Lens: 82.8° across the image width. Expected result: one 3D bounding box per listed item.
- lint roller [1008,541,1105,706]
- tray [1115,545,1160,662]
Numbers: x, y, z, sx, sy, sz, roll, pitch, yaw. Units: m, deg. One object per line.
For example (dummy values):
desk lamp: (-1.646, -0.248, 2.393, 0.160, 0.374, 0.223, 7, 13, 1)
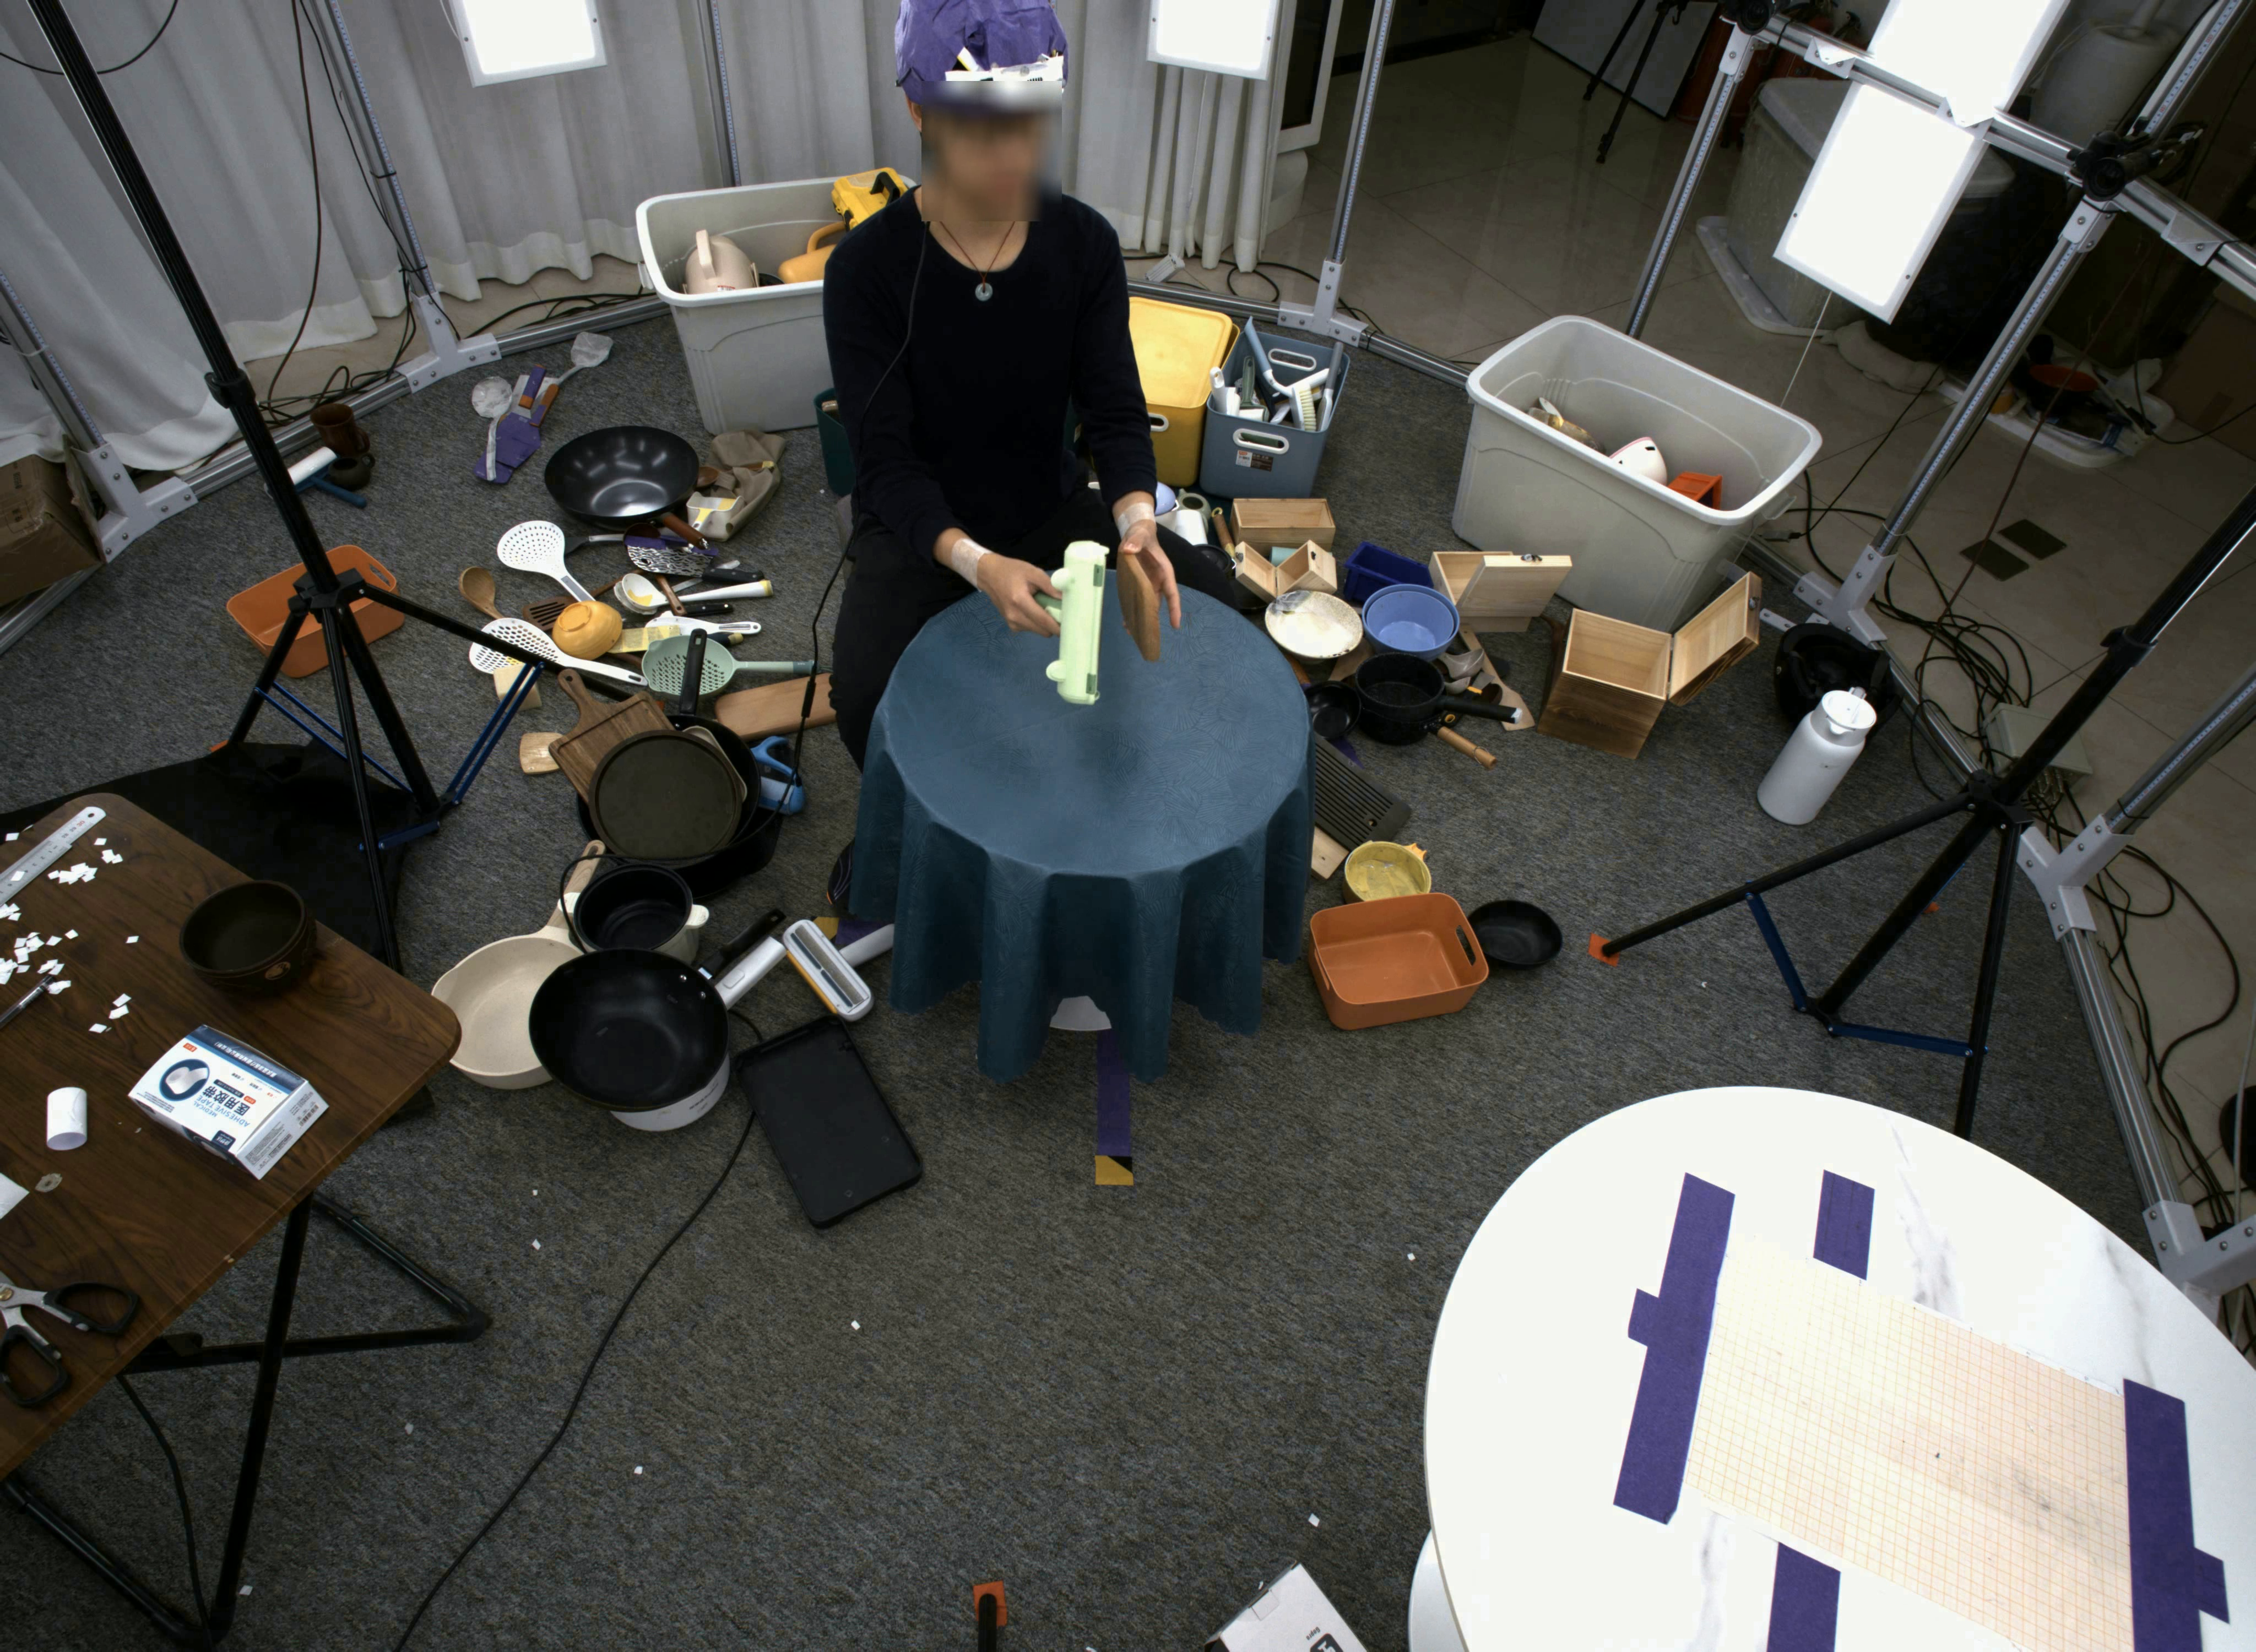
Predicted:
lint roller: (-0.105, -0.264, 1.612, 0.185, 0.195, 0.082, 21, 27, 37)
tray: (0.010, -0.282, 1.621, 0.020, 0.099, 0.236, -8, 30, -9)
